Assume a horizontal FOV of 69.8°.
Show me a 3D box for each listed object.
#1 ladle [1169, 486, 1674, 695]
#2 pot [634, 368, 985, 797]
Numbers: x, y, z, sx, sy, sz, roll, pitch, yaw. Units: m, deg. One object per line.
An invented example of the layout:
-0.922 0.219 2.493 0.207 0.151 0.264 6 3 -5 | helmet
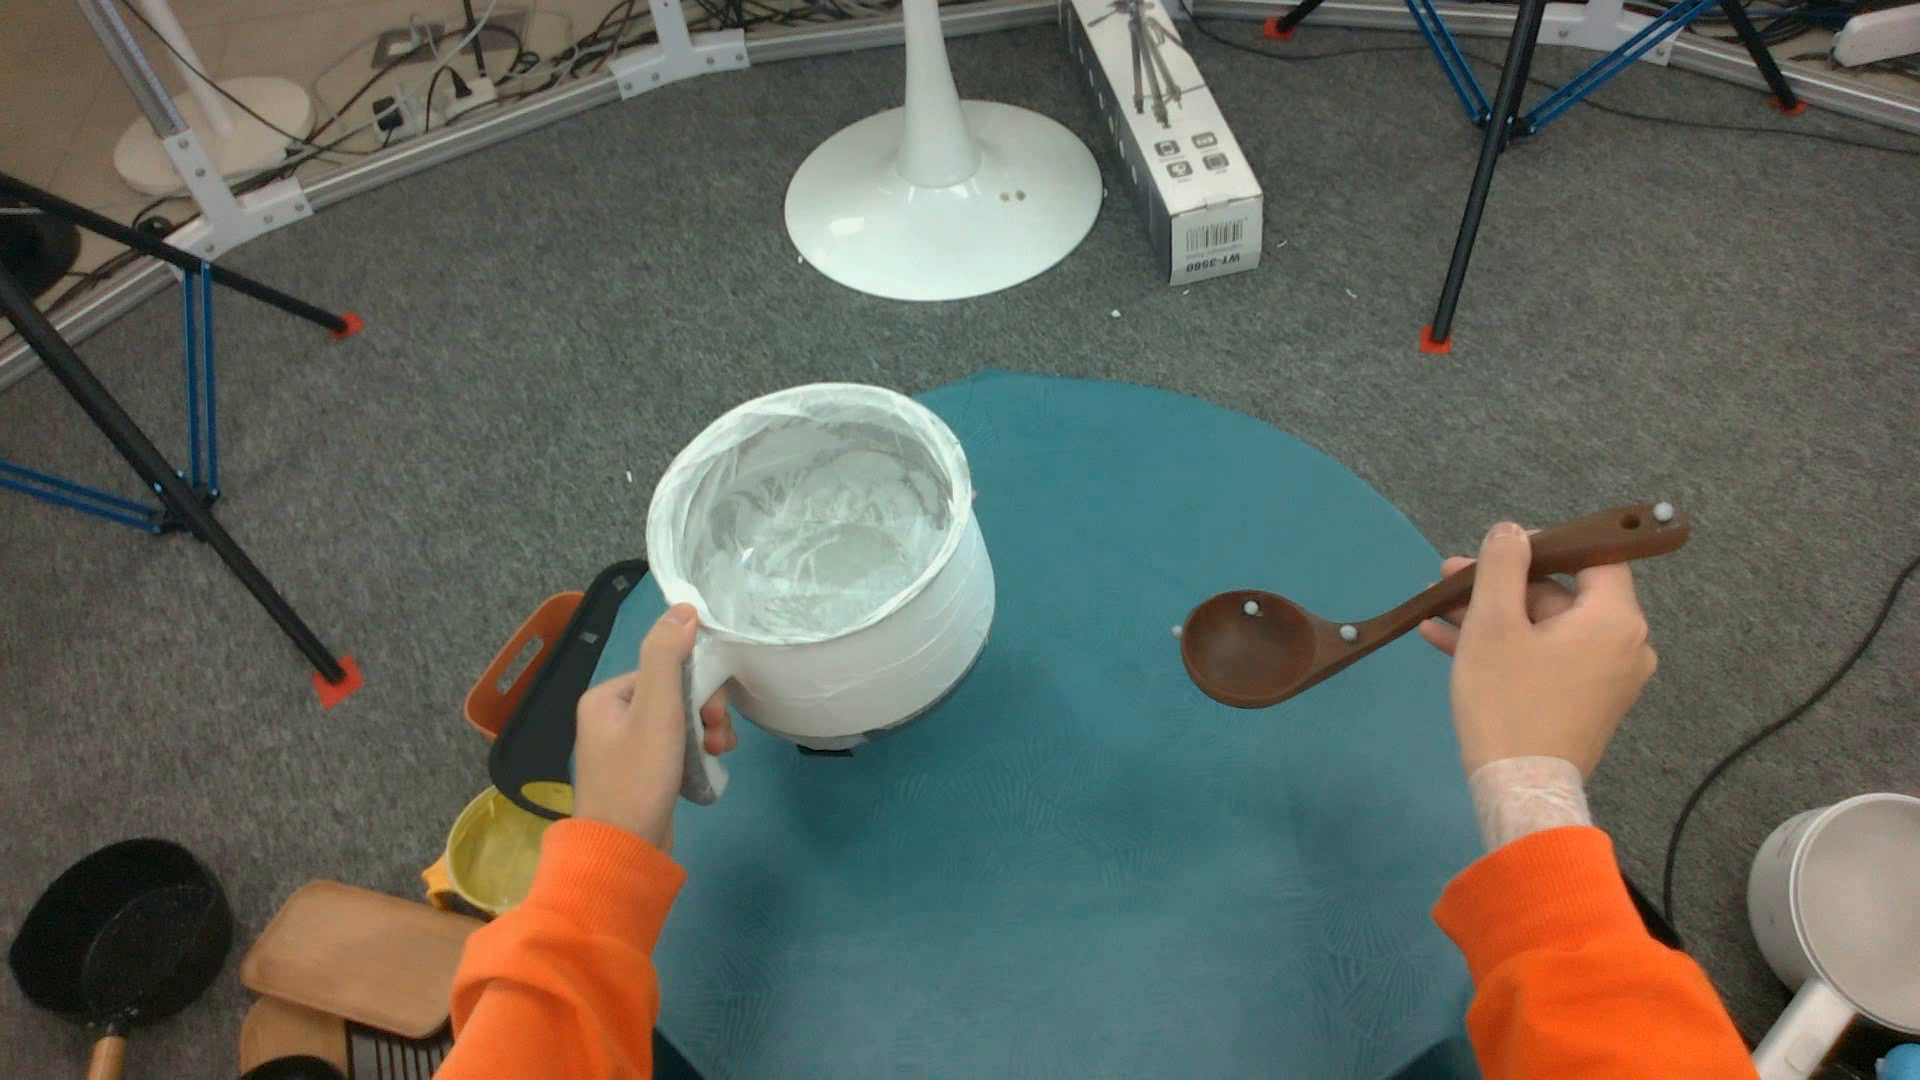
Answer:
0.217 0.018 0.694 0.259 0.065 0.077 -29 40 42 | ladle
-0.094 0.031 0.768 0.178 0.136 0.234 26 62 26 | pot
